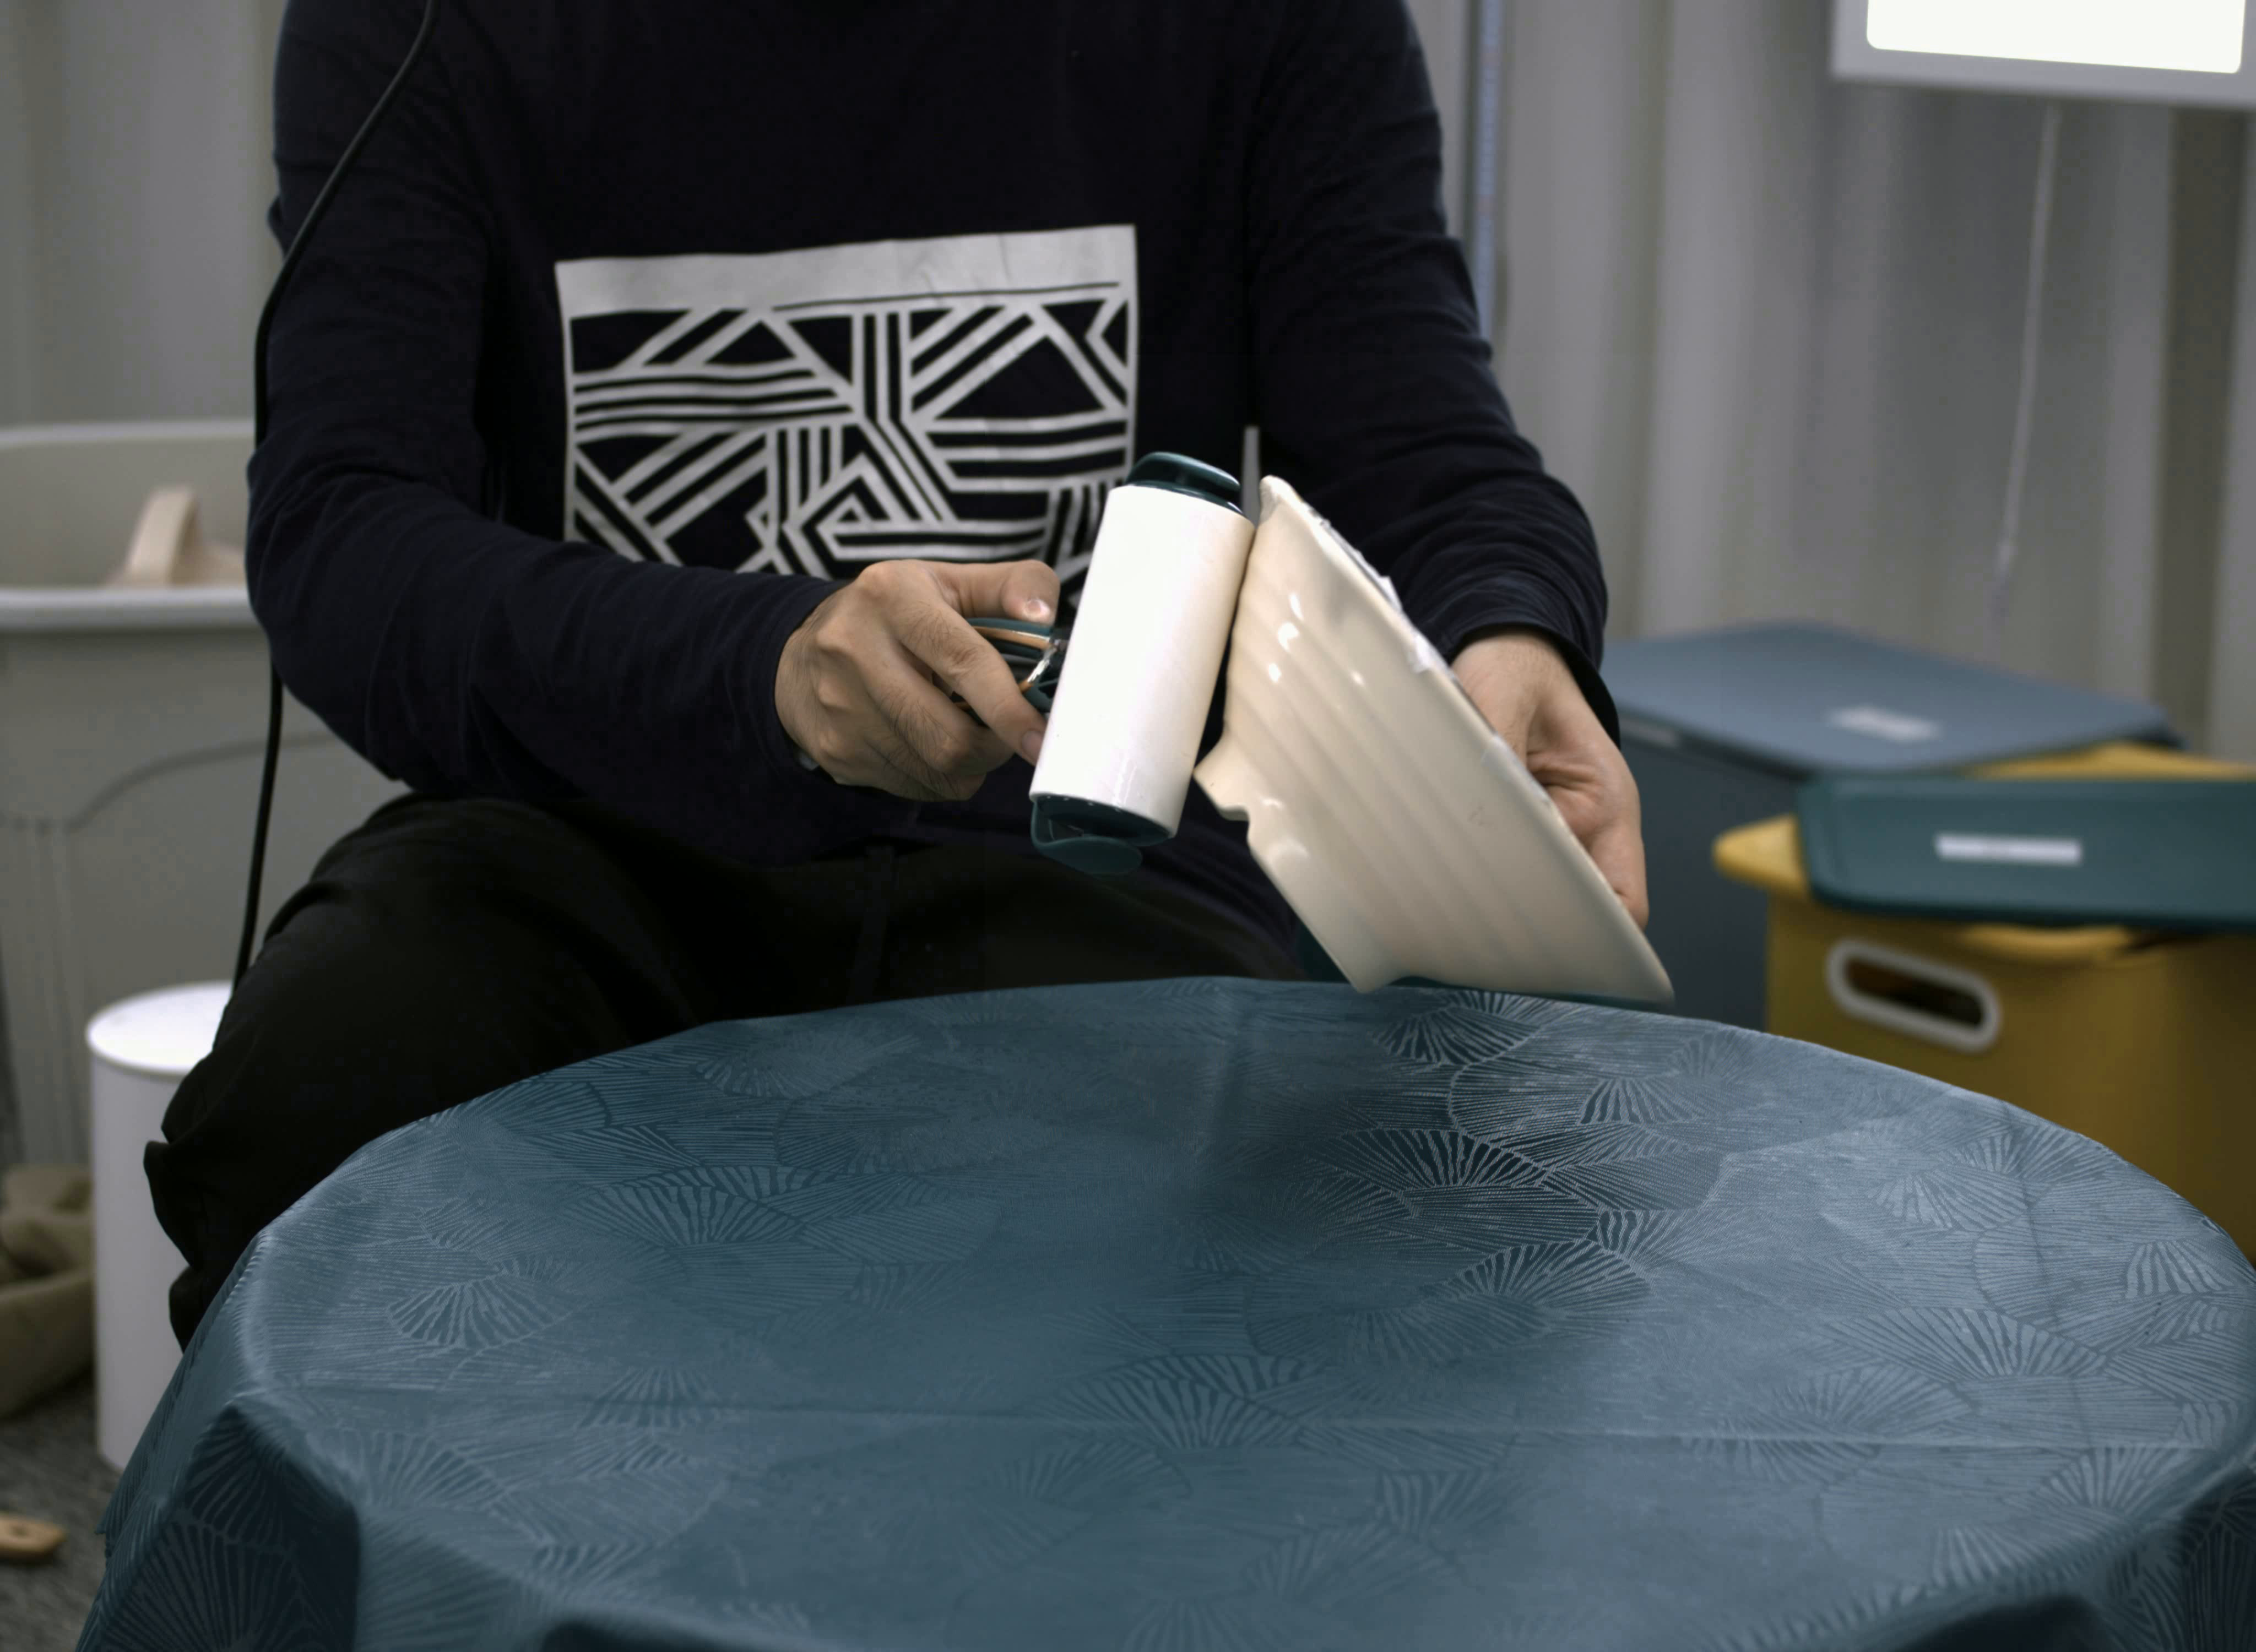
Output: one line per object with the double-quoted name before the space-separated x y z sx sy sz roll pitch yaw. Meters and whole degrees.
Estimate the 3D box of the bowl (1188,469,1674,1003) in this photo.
"bowl" 0.075 -0.005 1.609 0.078 0.206 0.202 -38 23 -4

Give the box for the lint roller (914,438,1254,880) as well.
"lint roller" -0.033 -0.049 1.666 0.049 0.134 0.178 21 -12 -34
